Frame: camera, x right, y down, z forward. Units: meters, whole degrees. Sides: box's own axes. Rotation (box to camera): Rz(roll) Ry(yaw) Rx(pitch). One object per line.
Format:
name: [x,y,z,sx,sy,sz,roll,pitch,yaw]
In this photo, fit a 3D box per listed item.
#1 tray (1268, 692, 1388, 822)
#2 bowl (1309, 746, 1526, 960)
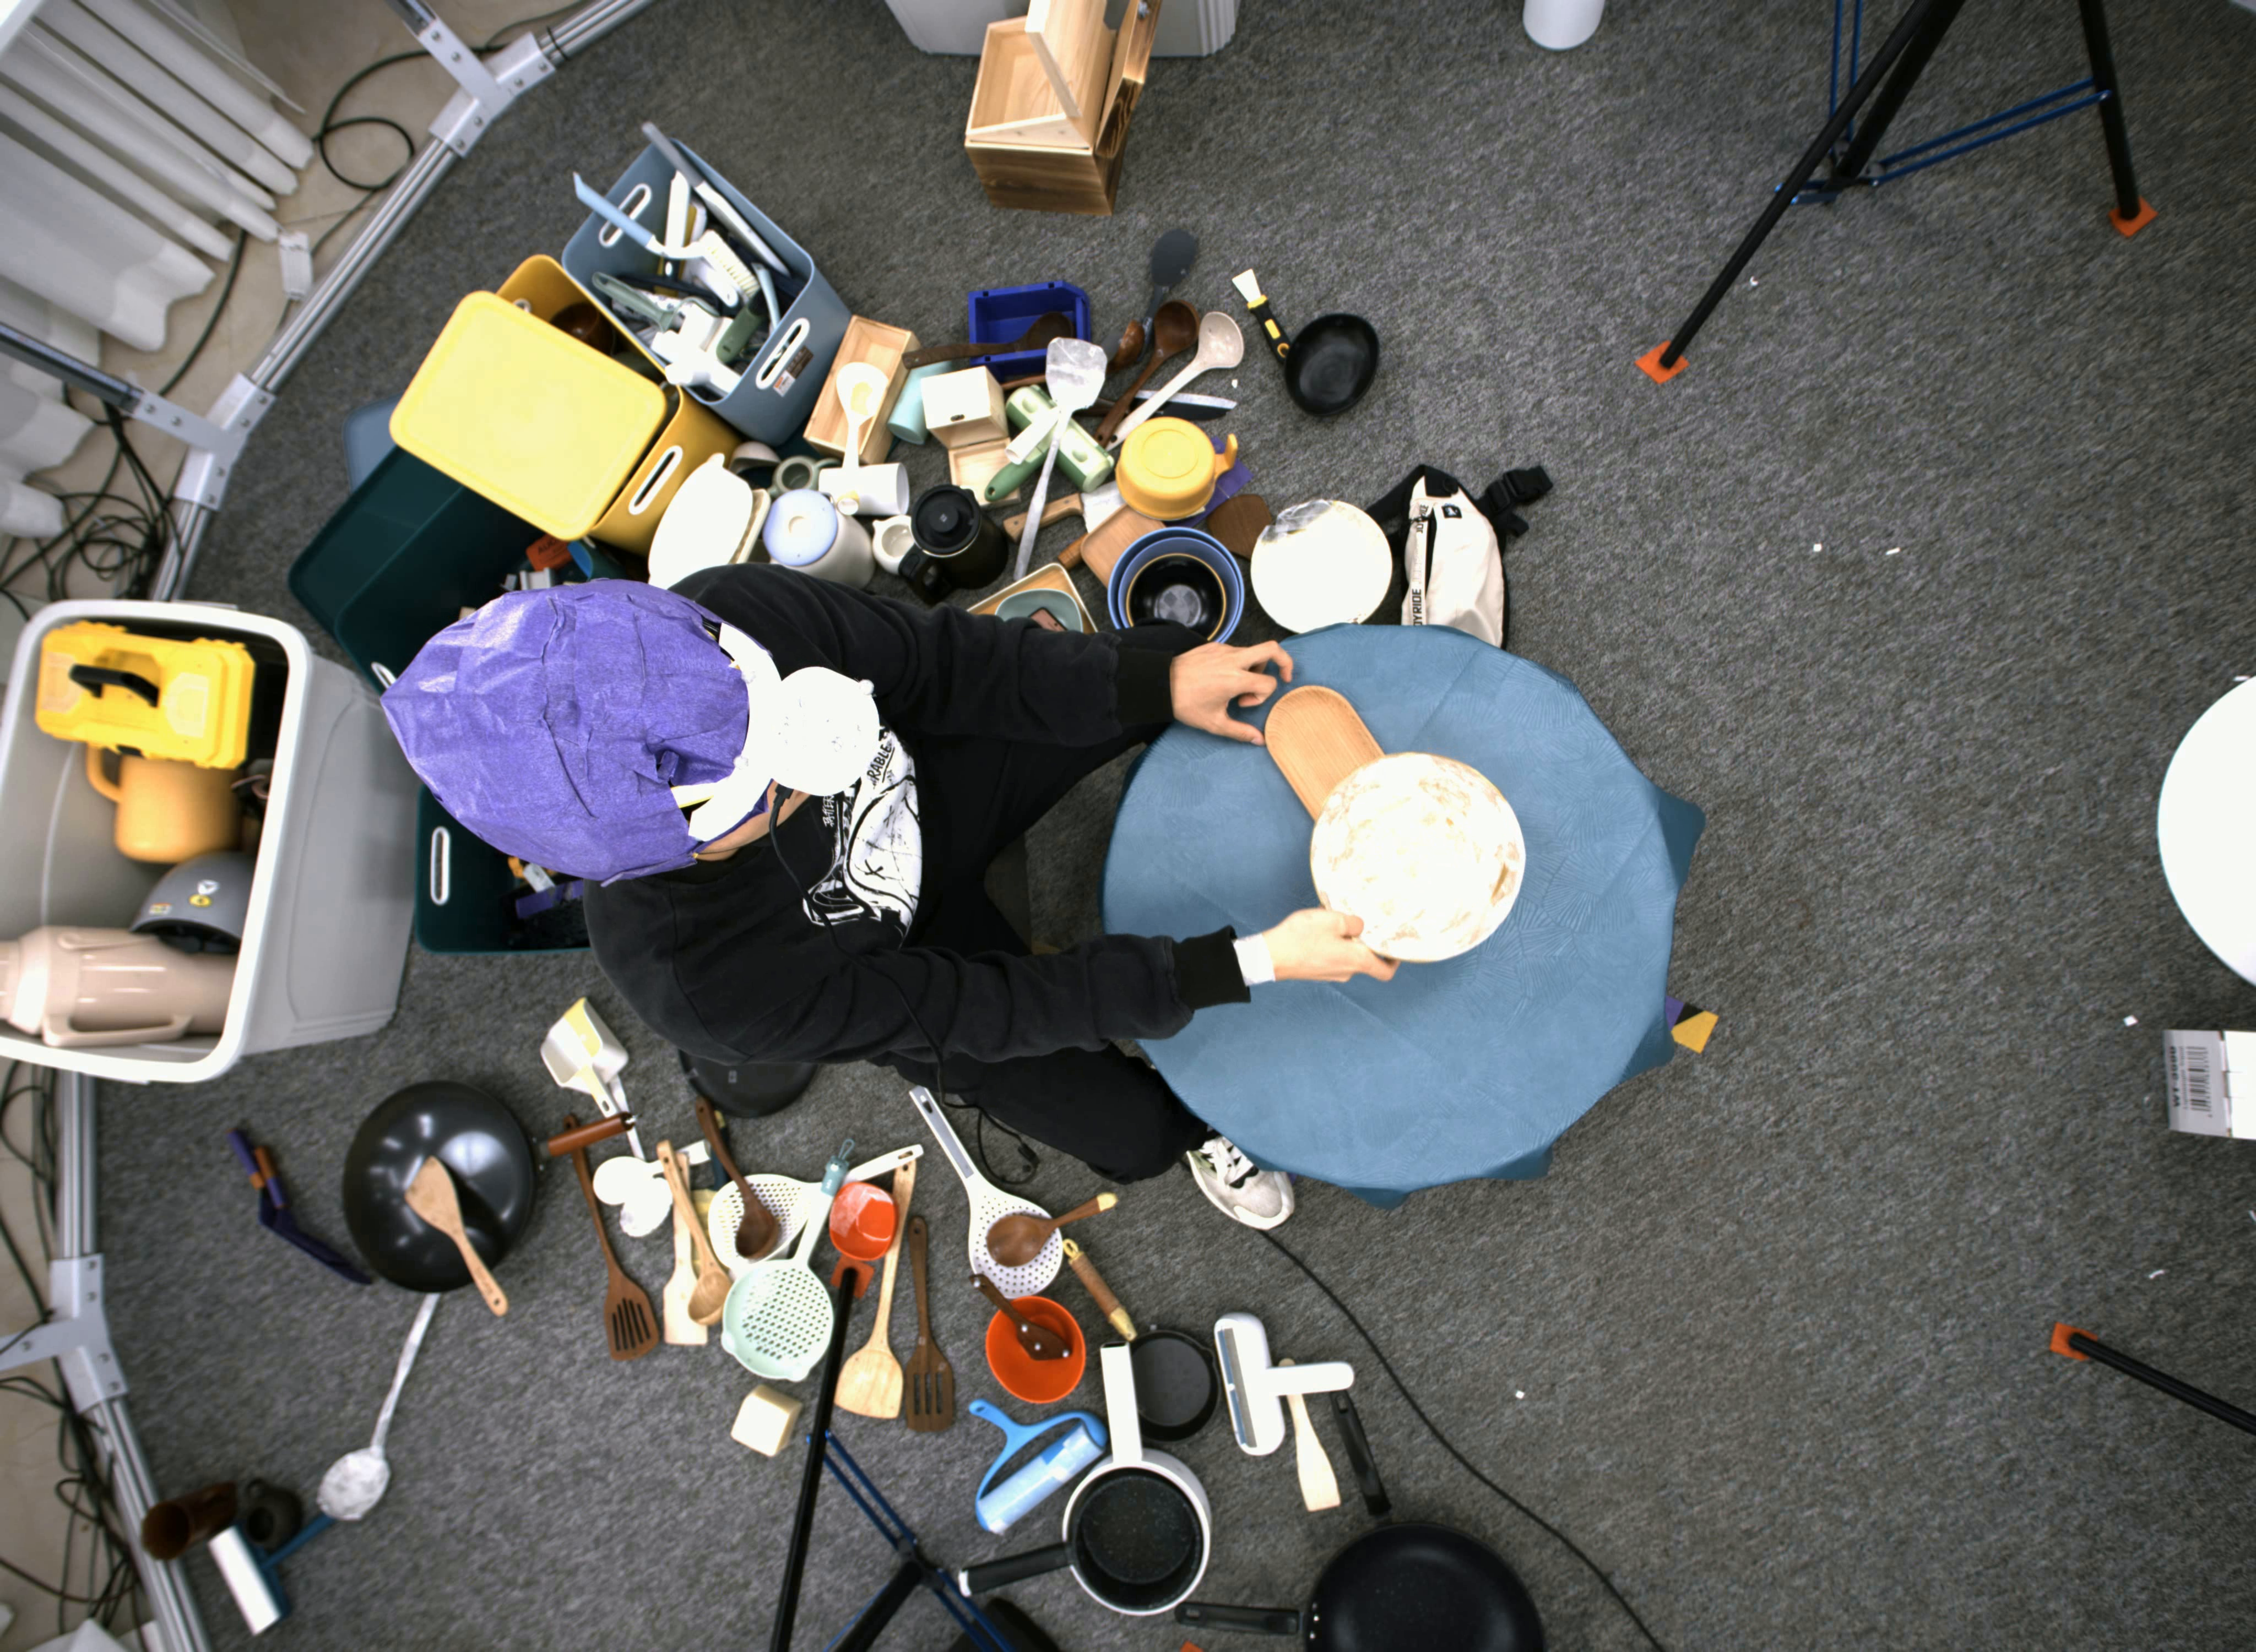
tray: [0.238,-0.041,1.470,0.102,0.020,0.230,-35,82,8]
bowl: [0.281,0.025,1.357,0.215,0.094,0.214,0,90,12]
